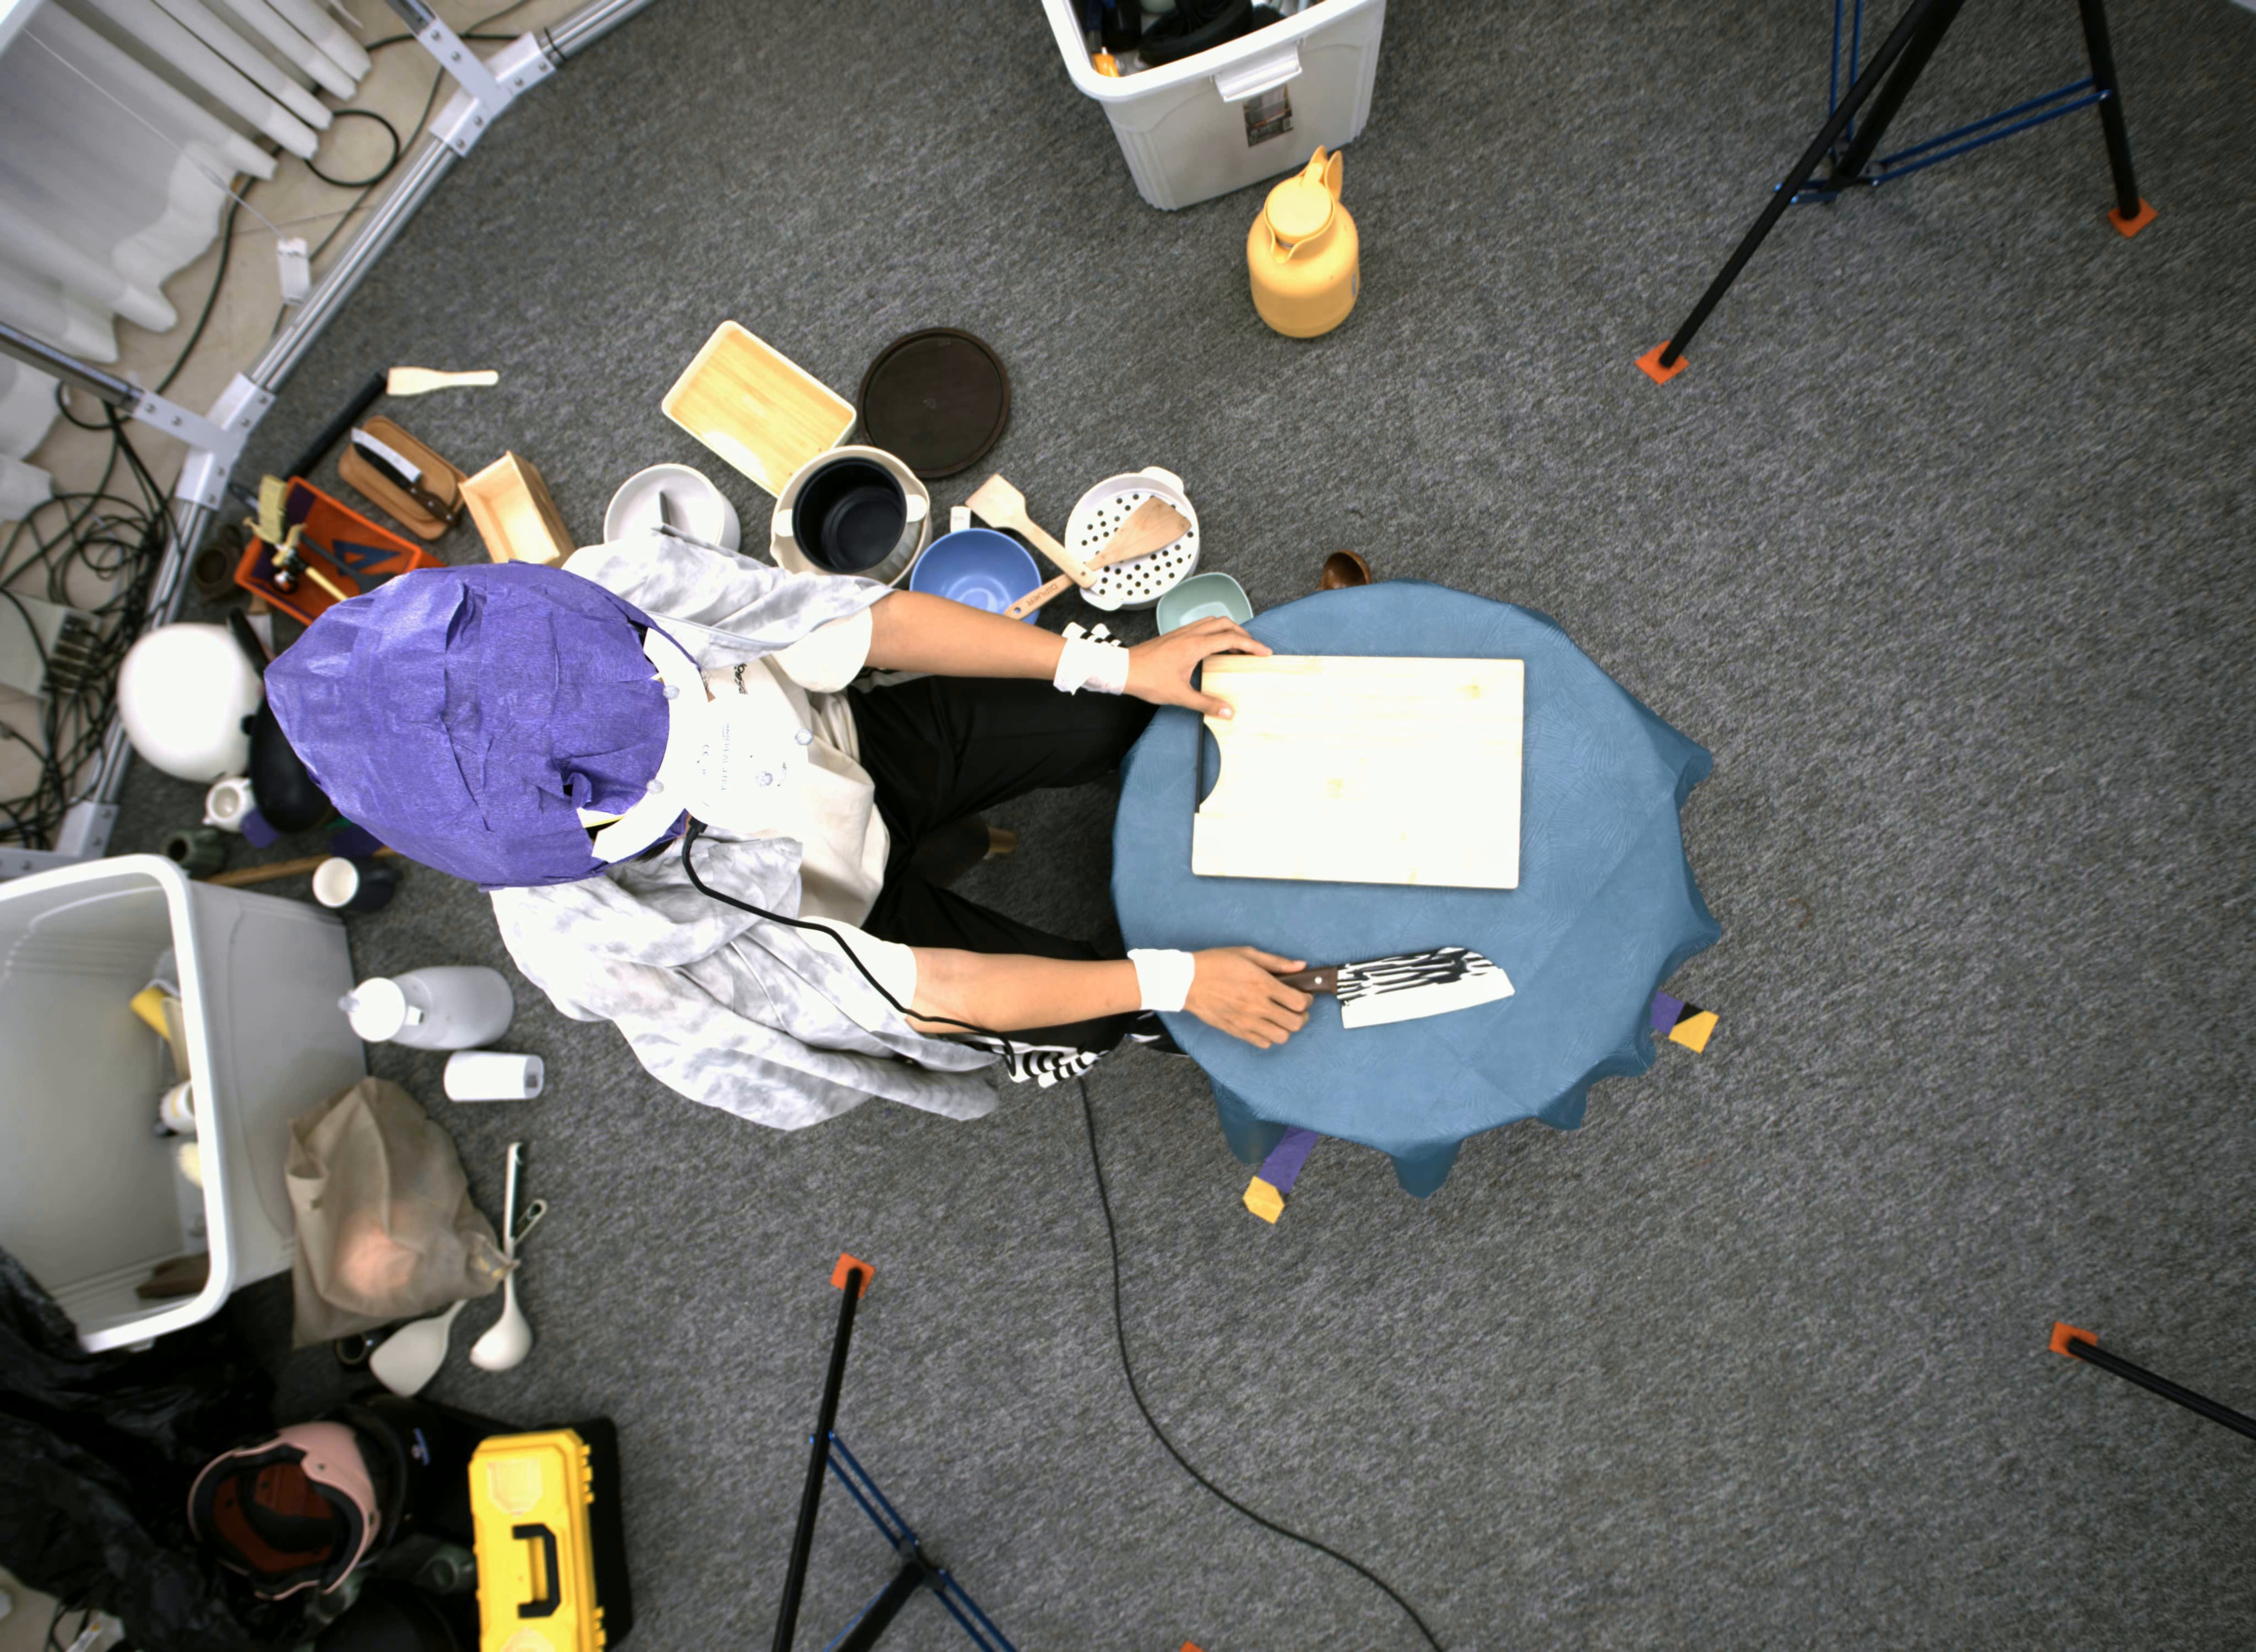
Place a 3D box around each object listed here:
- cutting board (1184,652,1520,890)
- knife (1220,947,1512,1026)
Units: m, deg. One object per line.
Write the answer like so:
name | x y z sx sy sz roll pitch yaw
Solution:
cutting board | 0.237 -0.063 1.464 0.350 0.023 0.249 1 87 11
knife | 0.248 0.171 1.447 0.301 0.024 0.068 -9 88 8
